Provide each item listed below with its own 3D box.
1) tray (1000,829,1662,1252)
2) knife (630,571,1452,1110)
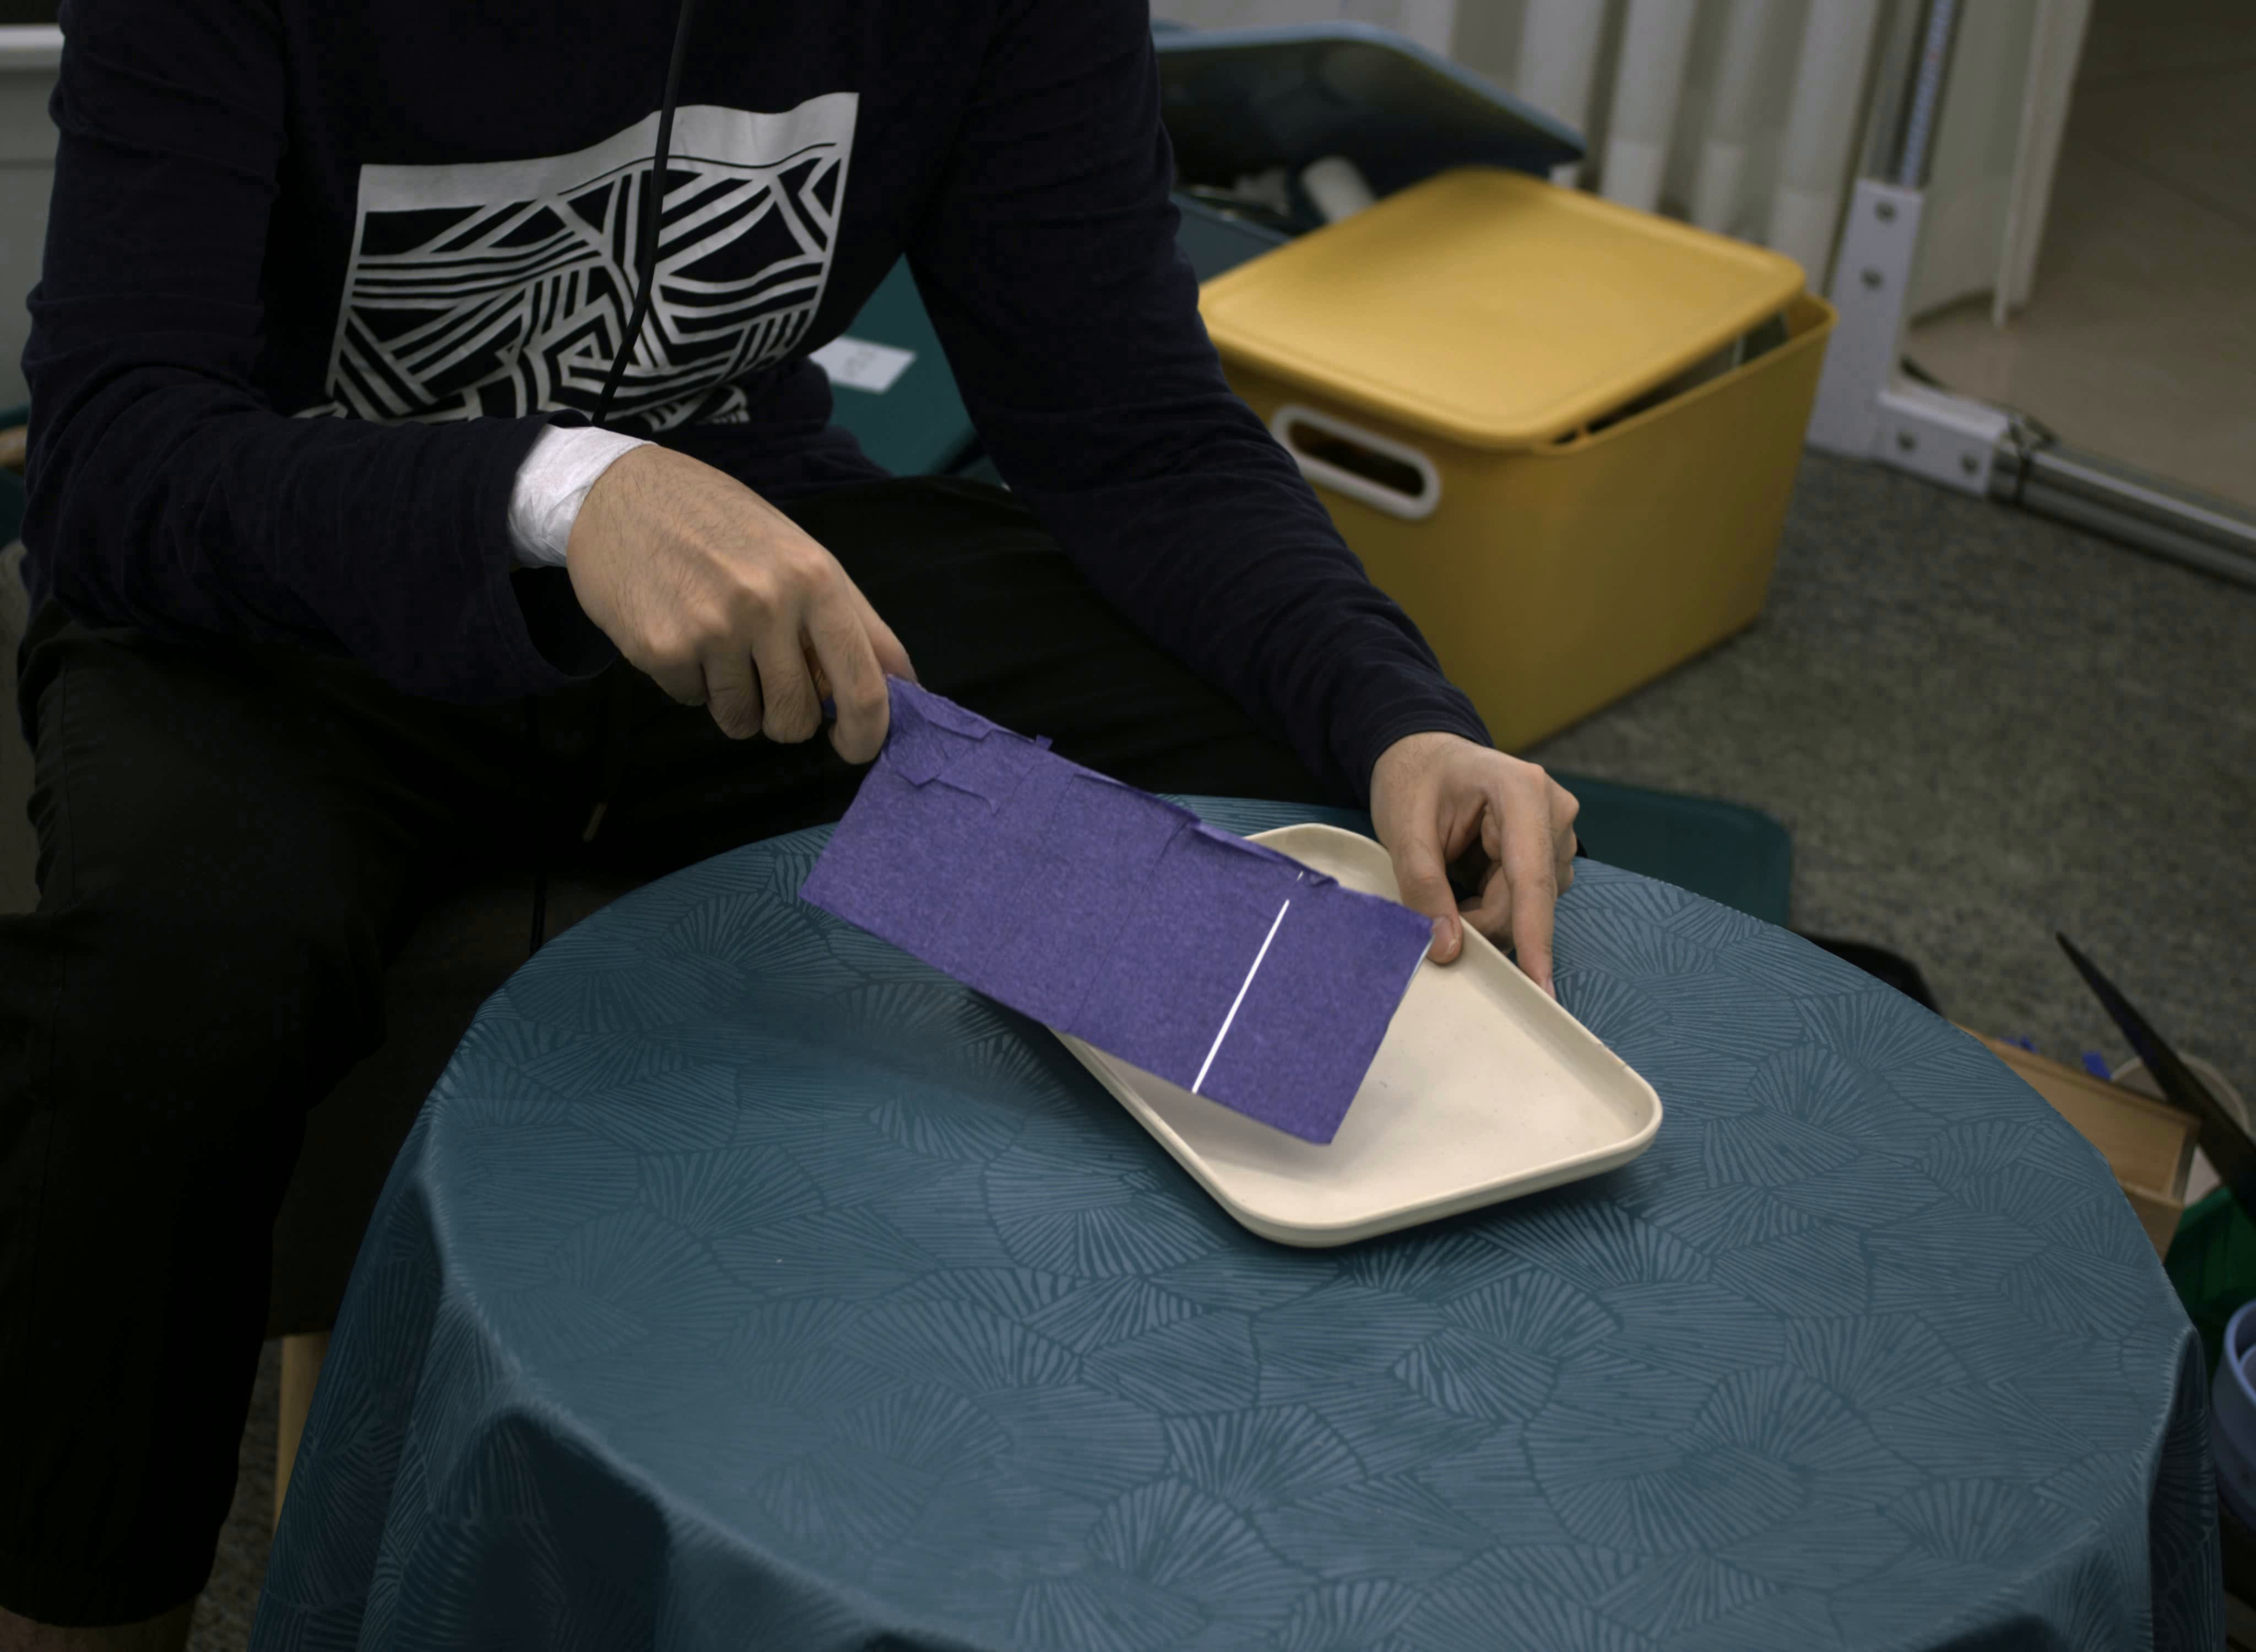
[{"bbox_3d":[0.065,0.074,1.886,0.170,0.017,0.242,-14,33,-25],"label":"tray"},{"bbox_3d":[-0.048,0.005,1.852,0.316,0.032,0.104,23,69,16],"label":"knife"}]
